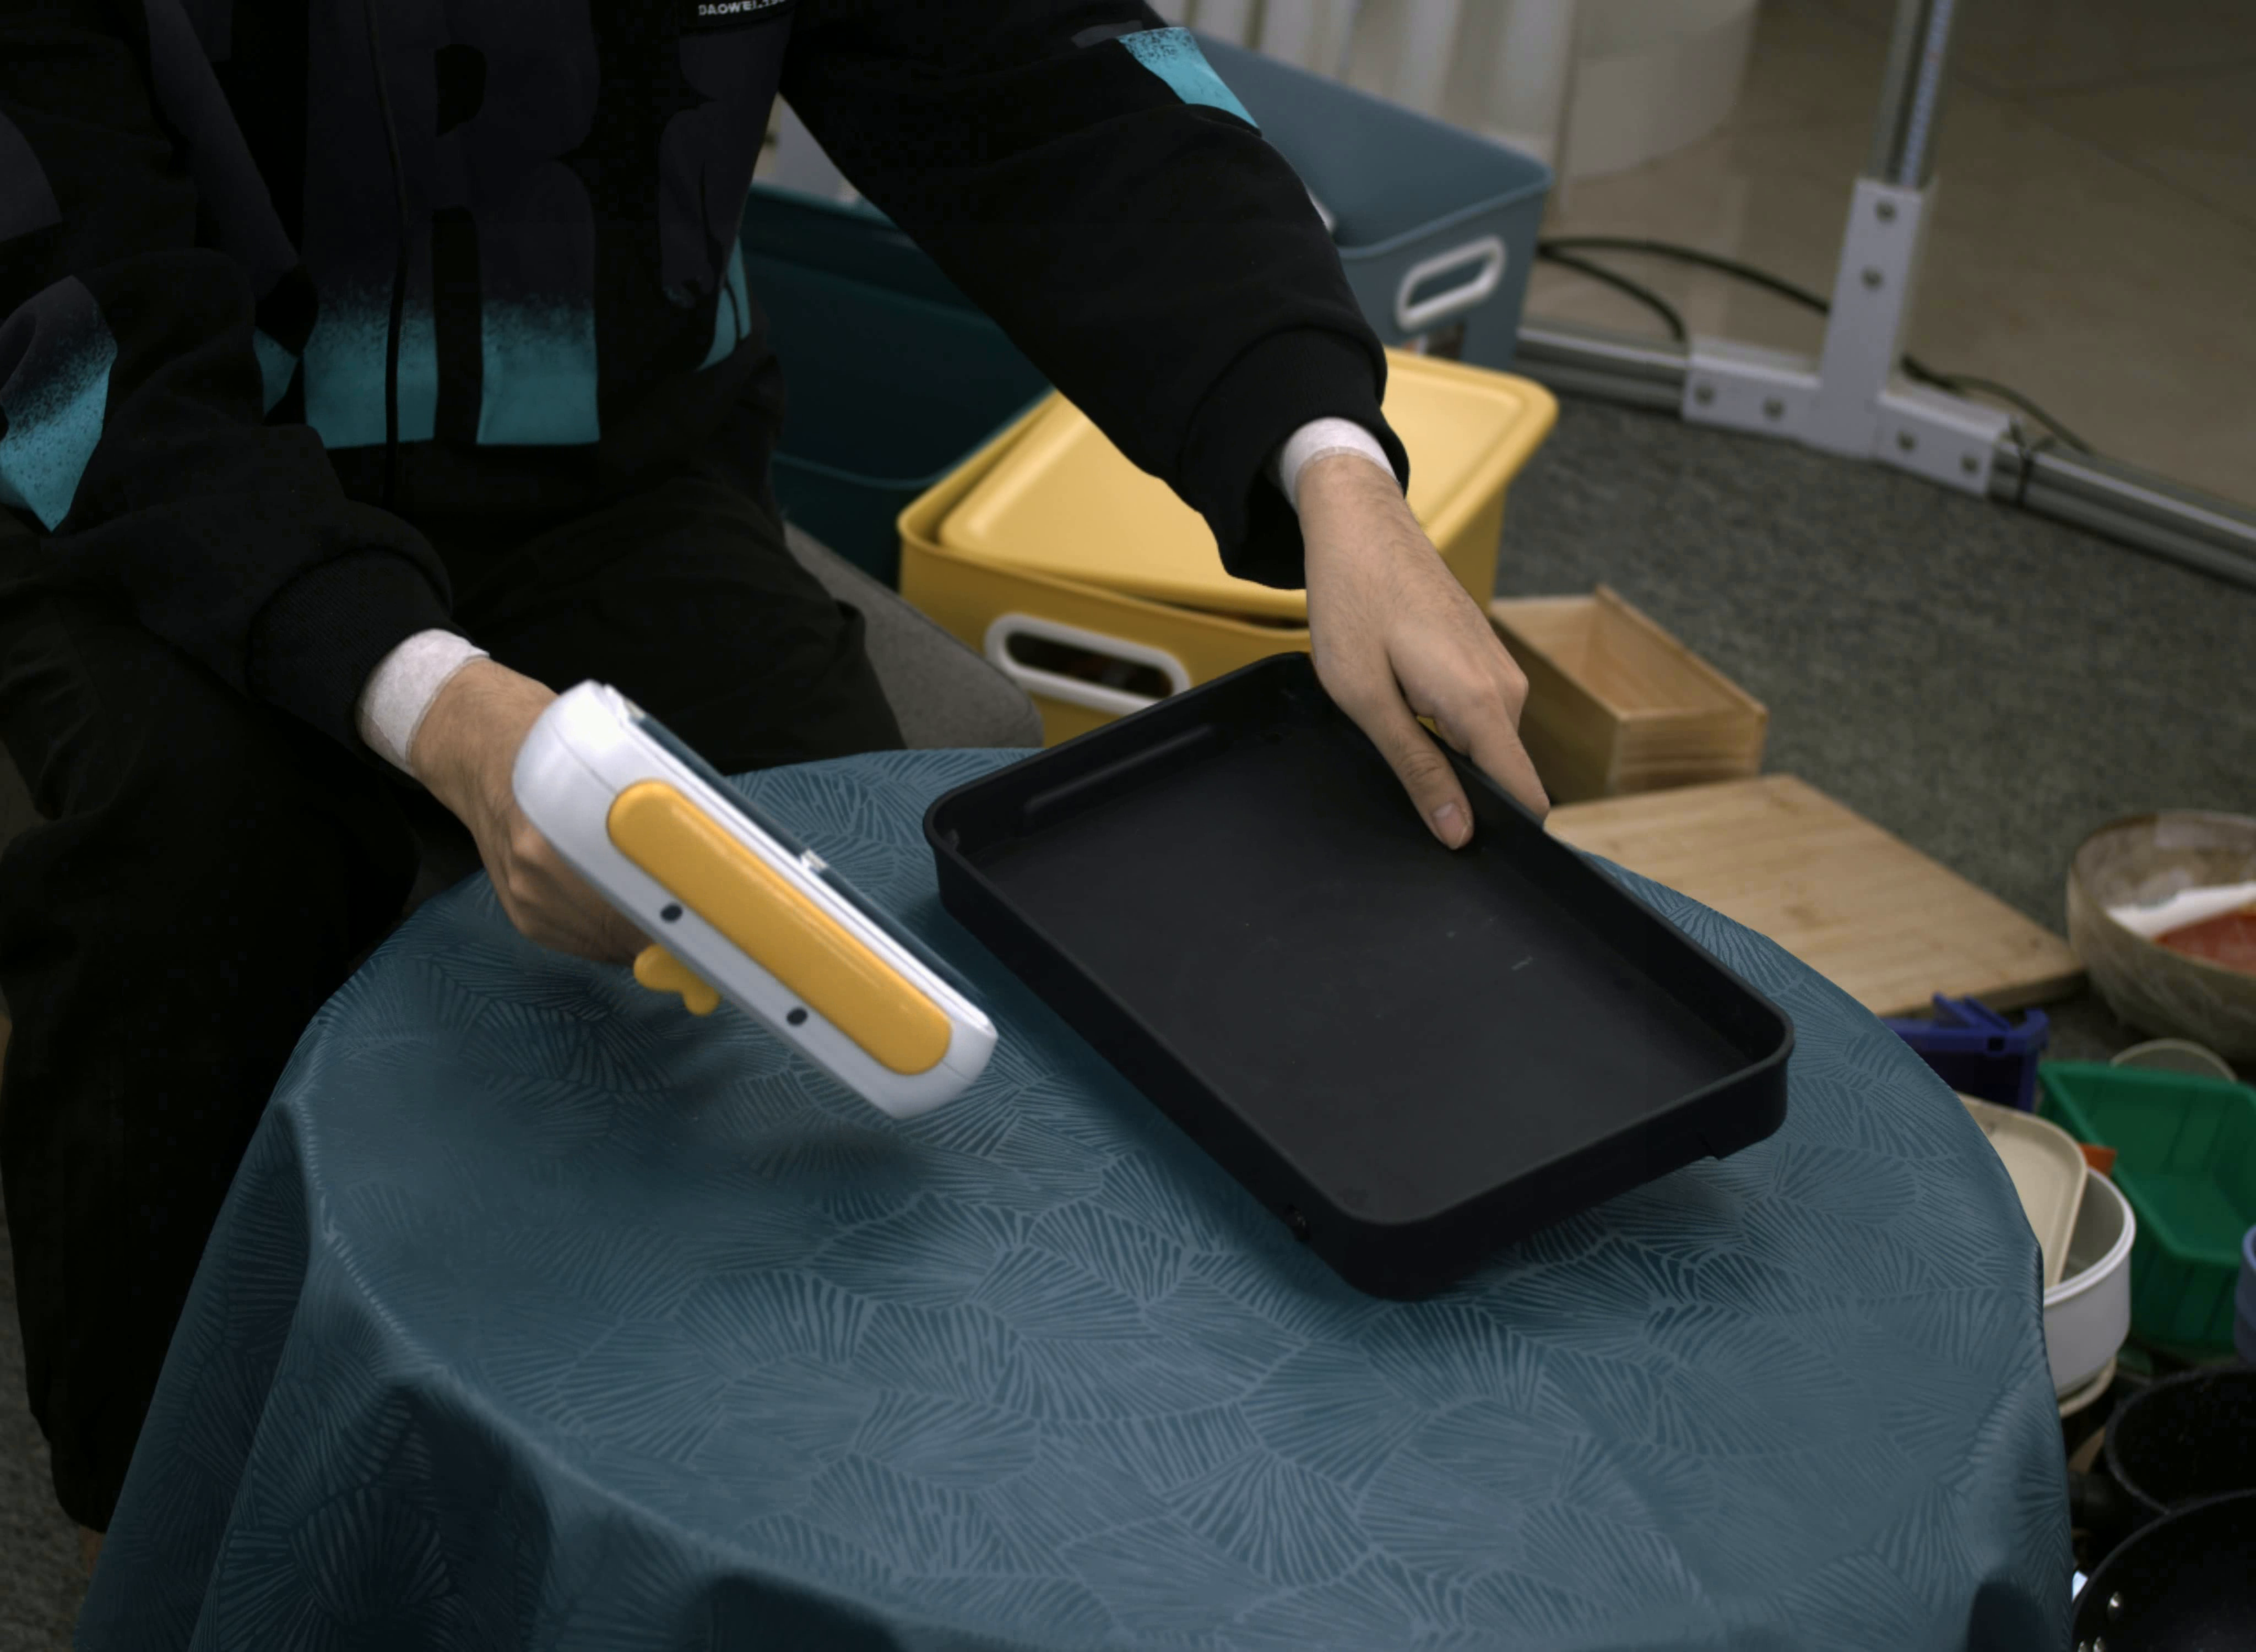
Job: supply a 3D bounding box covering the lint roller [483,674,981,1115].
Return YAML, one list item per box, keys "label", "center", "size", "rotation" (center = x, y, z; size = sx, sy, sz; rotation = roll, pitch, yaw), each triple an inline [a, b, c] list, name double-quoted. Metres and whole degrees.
- label: "lint roller"
  center: [-0.151, 0.020, 1.812]
  size: [0.191, 0.074, 0.193]
  rotation: [36, -2, -19]

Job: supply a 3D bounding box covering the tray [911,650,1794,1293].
- label: "tray"
  center: [0.075, 0.045, 1.890]
  size: [0.183, 0.037, 0.321]
  rotation: [-24, 38, -24]
